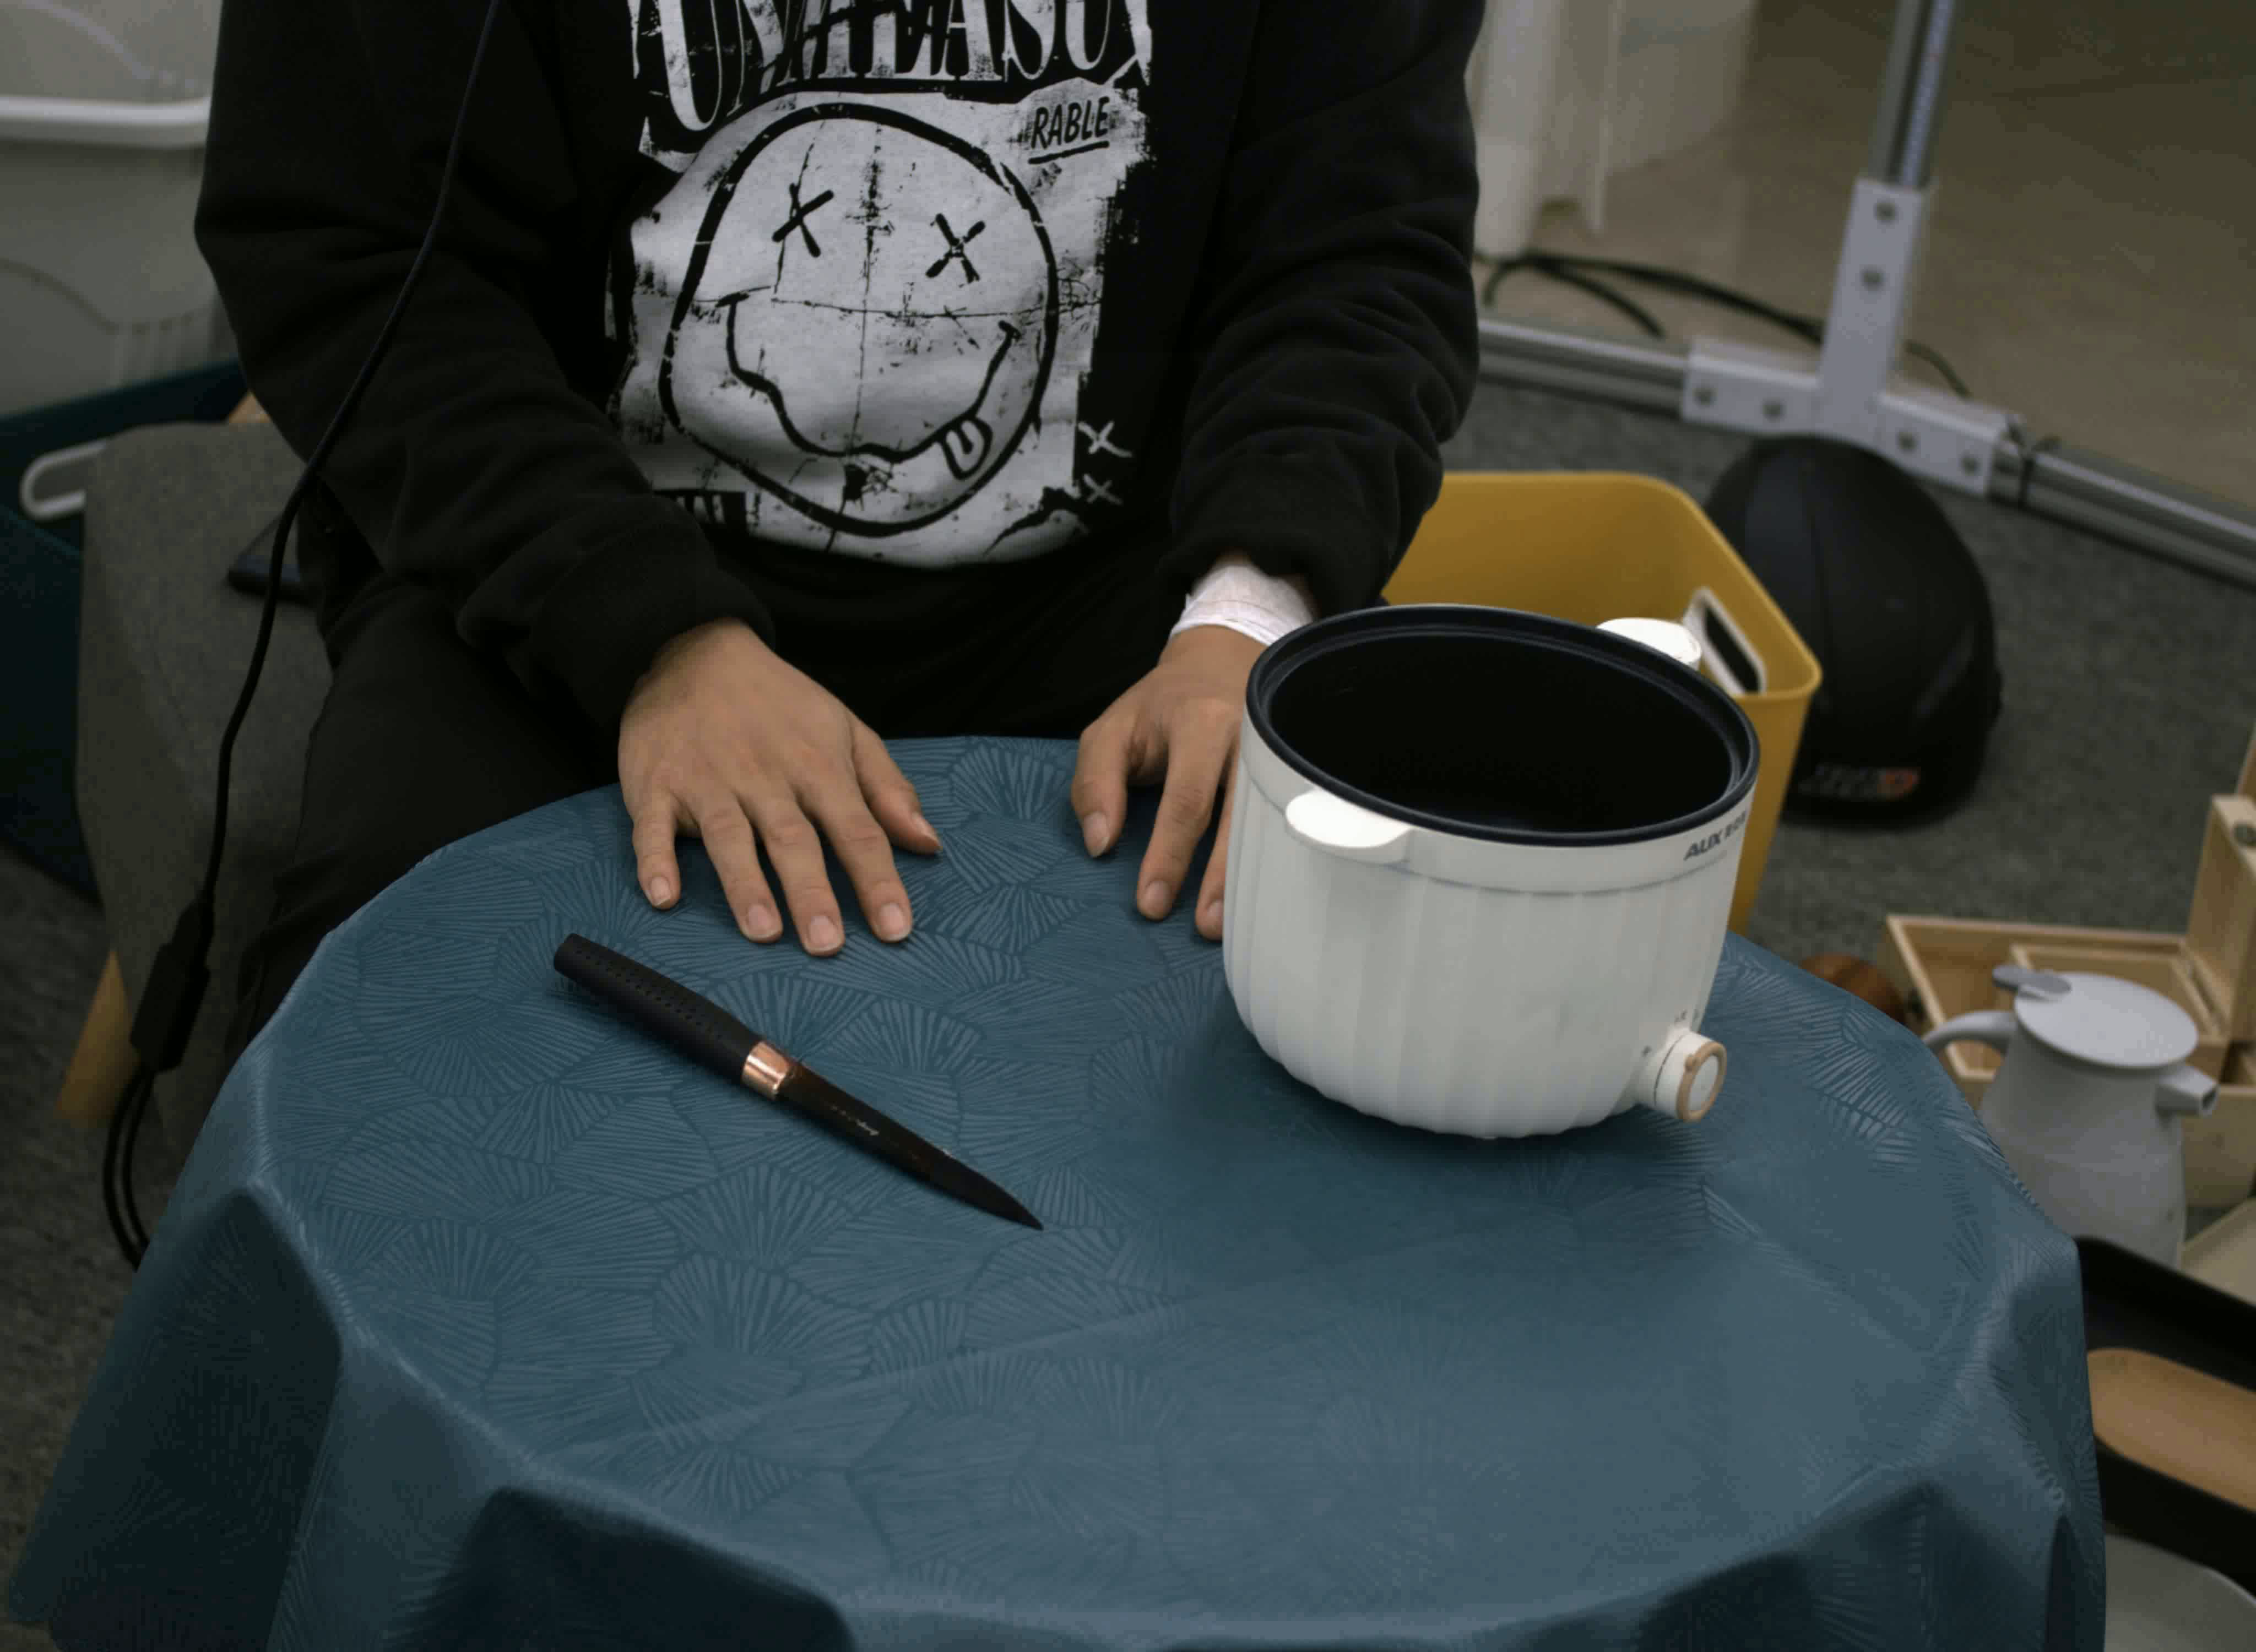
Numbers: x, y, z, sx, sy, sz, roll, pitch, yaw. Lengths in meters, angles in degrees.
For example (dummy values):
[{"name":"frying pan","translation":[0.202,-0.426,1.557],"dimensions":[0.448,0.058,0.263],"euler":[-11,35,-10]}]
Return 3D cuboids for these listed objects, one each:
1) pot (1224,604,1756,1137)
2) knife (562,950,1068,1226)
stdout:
[{"name":"pot","translation":[0.128,0.021,1.883],"dimensions":[0.191,0.142,0.240],"euler":[19,30,30]},{"name":"knife","translation":[-0.111,0.091,1.836],"dimensions":[0.227,0.017,0.026],"euler":[26,18,32]}]
